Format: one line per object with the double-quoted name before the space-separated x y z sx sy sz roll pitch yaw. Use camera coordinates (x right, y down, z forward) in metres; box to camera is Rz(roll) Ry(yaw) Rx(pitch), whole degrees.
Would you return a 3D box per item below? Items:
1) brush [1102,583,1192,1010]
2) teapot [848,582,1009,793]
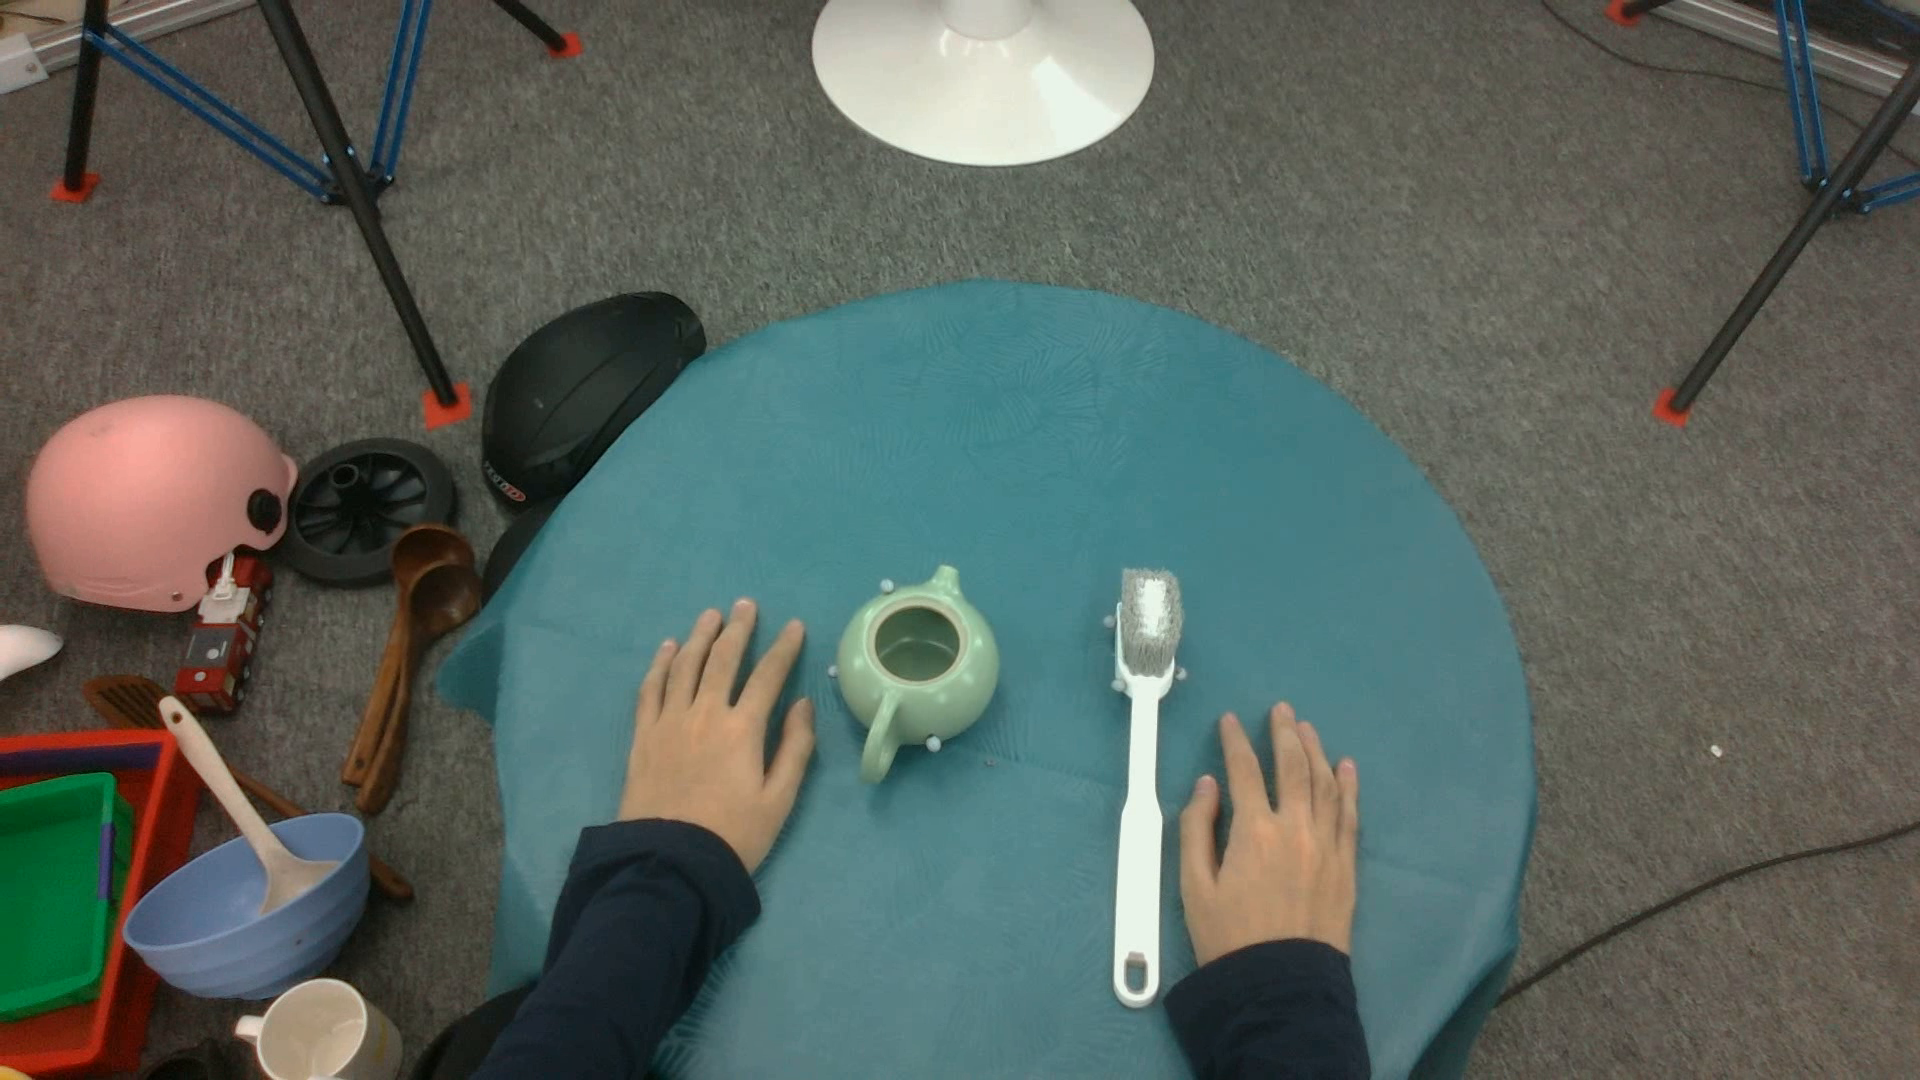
"brush" 0.103 0.130 0.759 0.034 0.050 0.245 10 56 0
"teapot" -0.022 0.086 0.781 0.091 0.060 0.129 25 59 9
